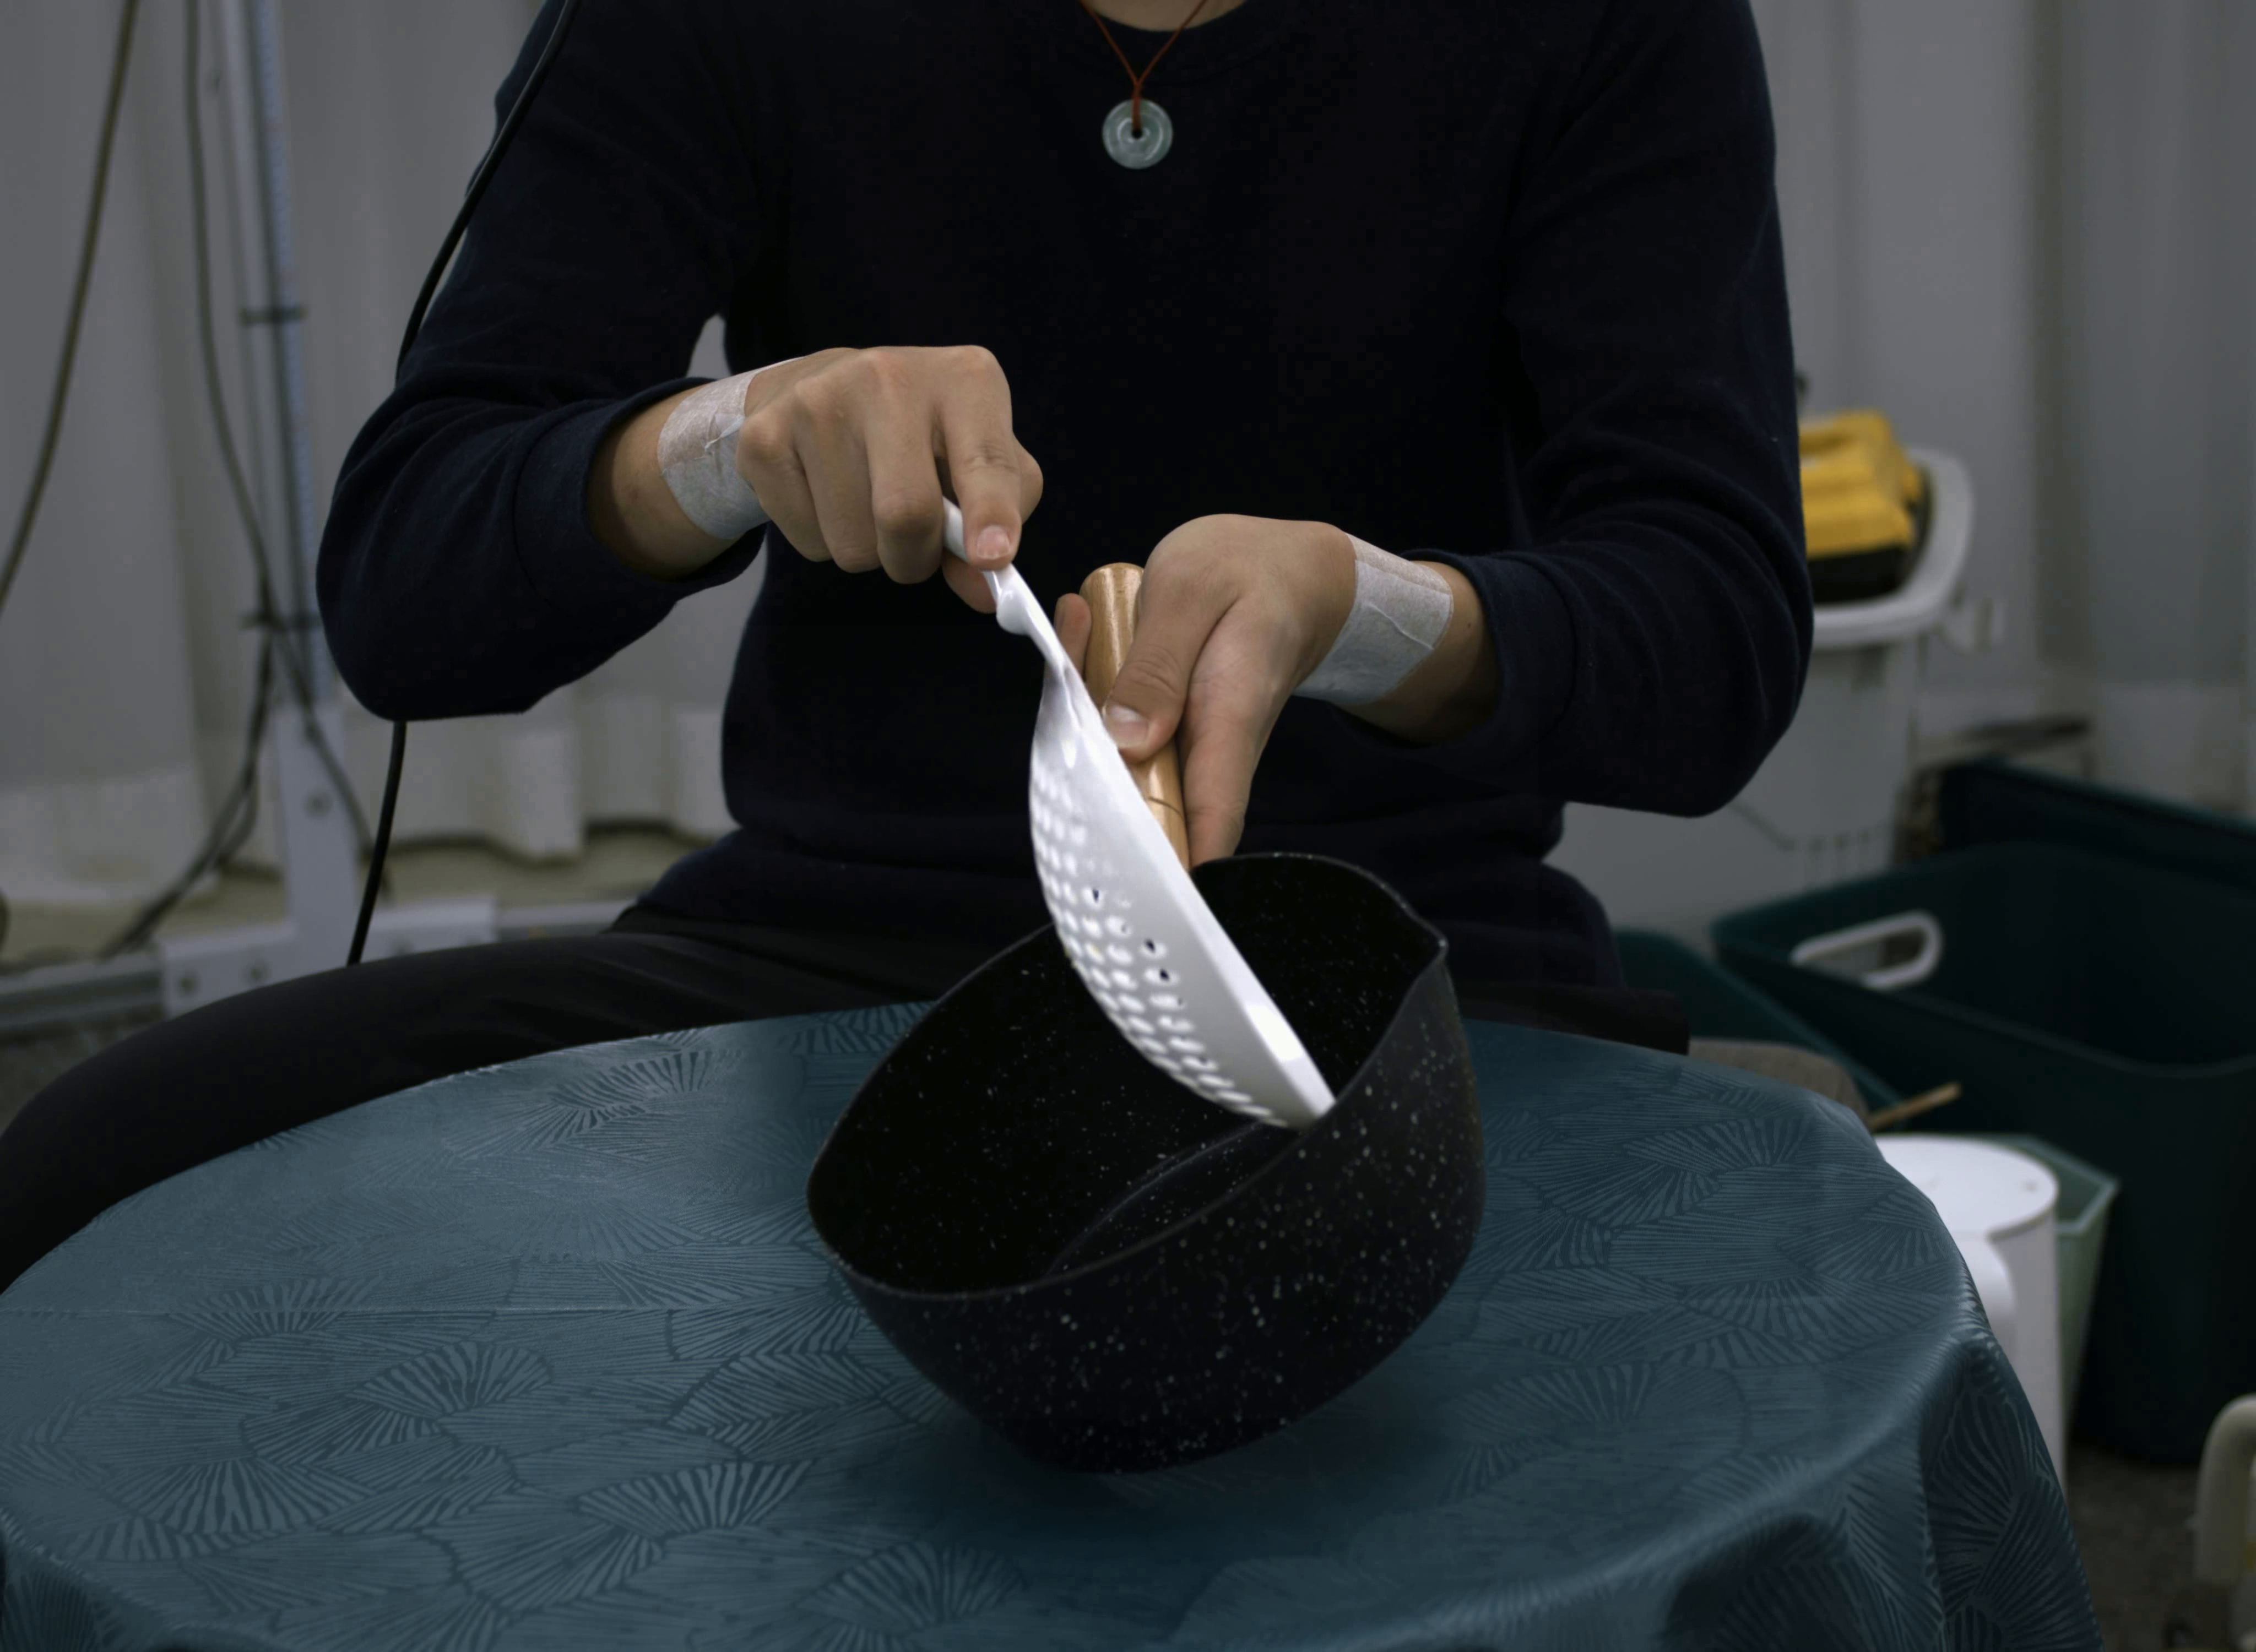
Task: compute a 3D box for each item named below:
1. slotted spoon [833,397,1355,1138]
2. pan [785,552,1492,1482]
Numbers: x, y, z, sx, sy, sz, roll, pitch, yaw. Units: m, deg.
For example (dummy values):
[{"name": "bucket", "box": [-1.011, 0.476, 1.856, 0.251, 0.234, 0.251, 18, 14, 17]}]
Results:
[{"name": "slotted spoon", "box": [-0.021, -0.031, 1.537, 0.050, 0.135, 0.353, -31, 38, 6]}, {"name": "pan", "box": [0.010, 0.048, 1.571, 0.207, 0.107, 0.347, -24, 29, 14]}]
